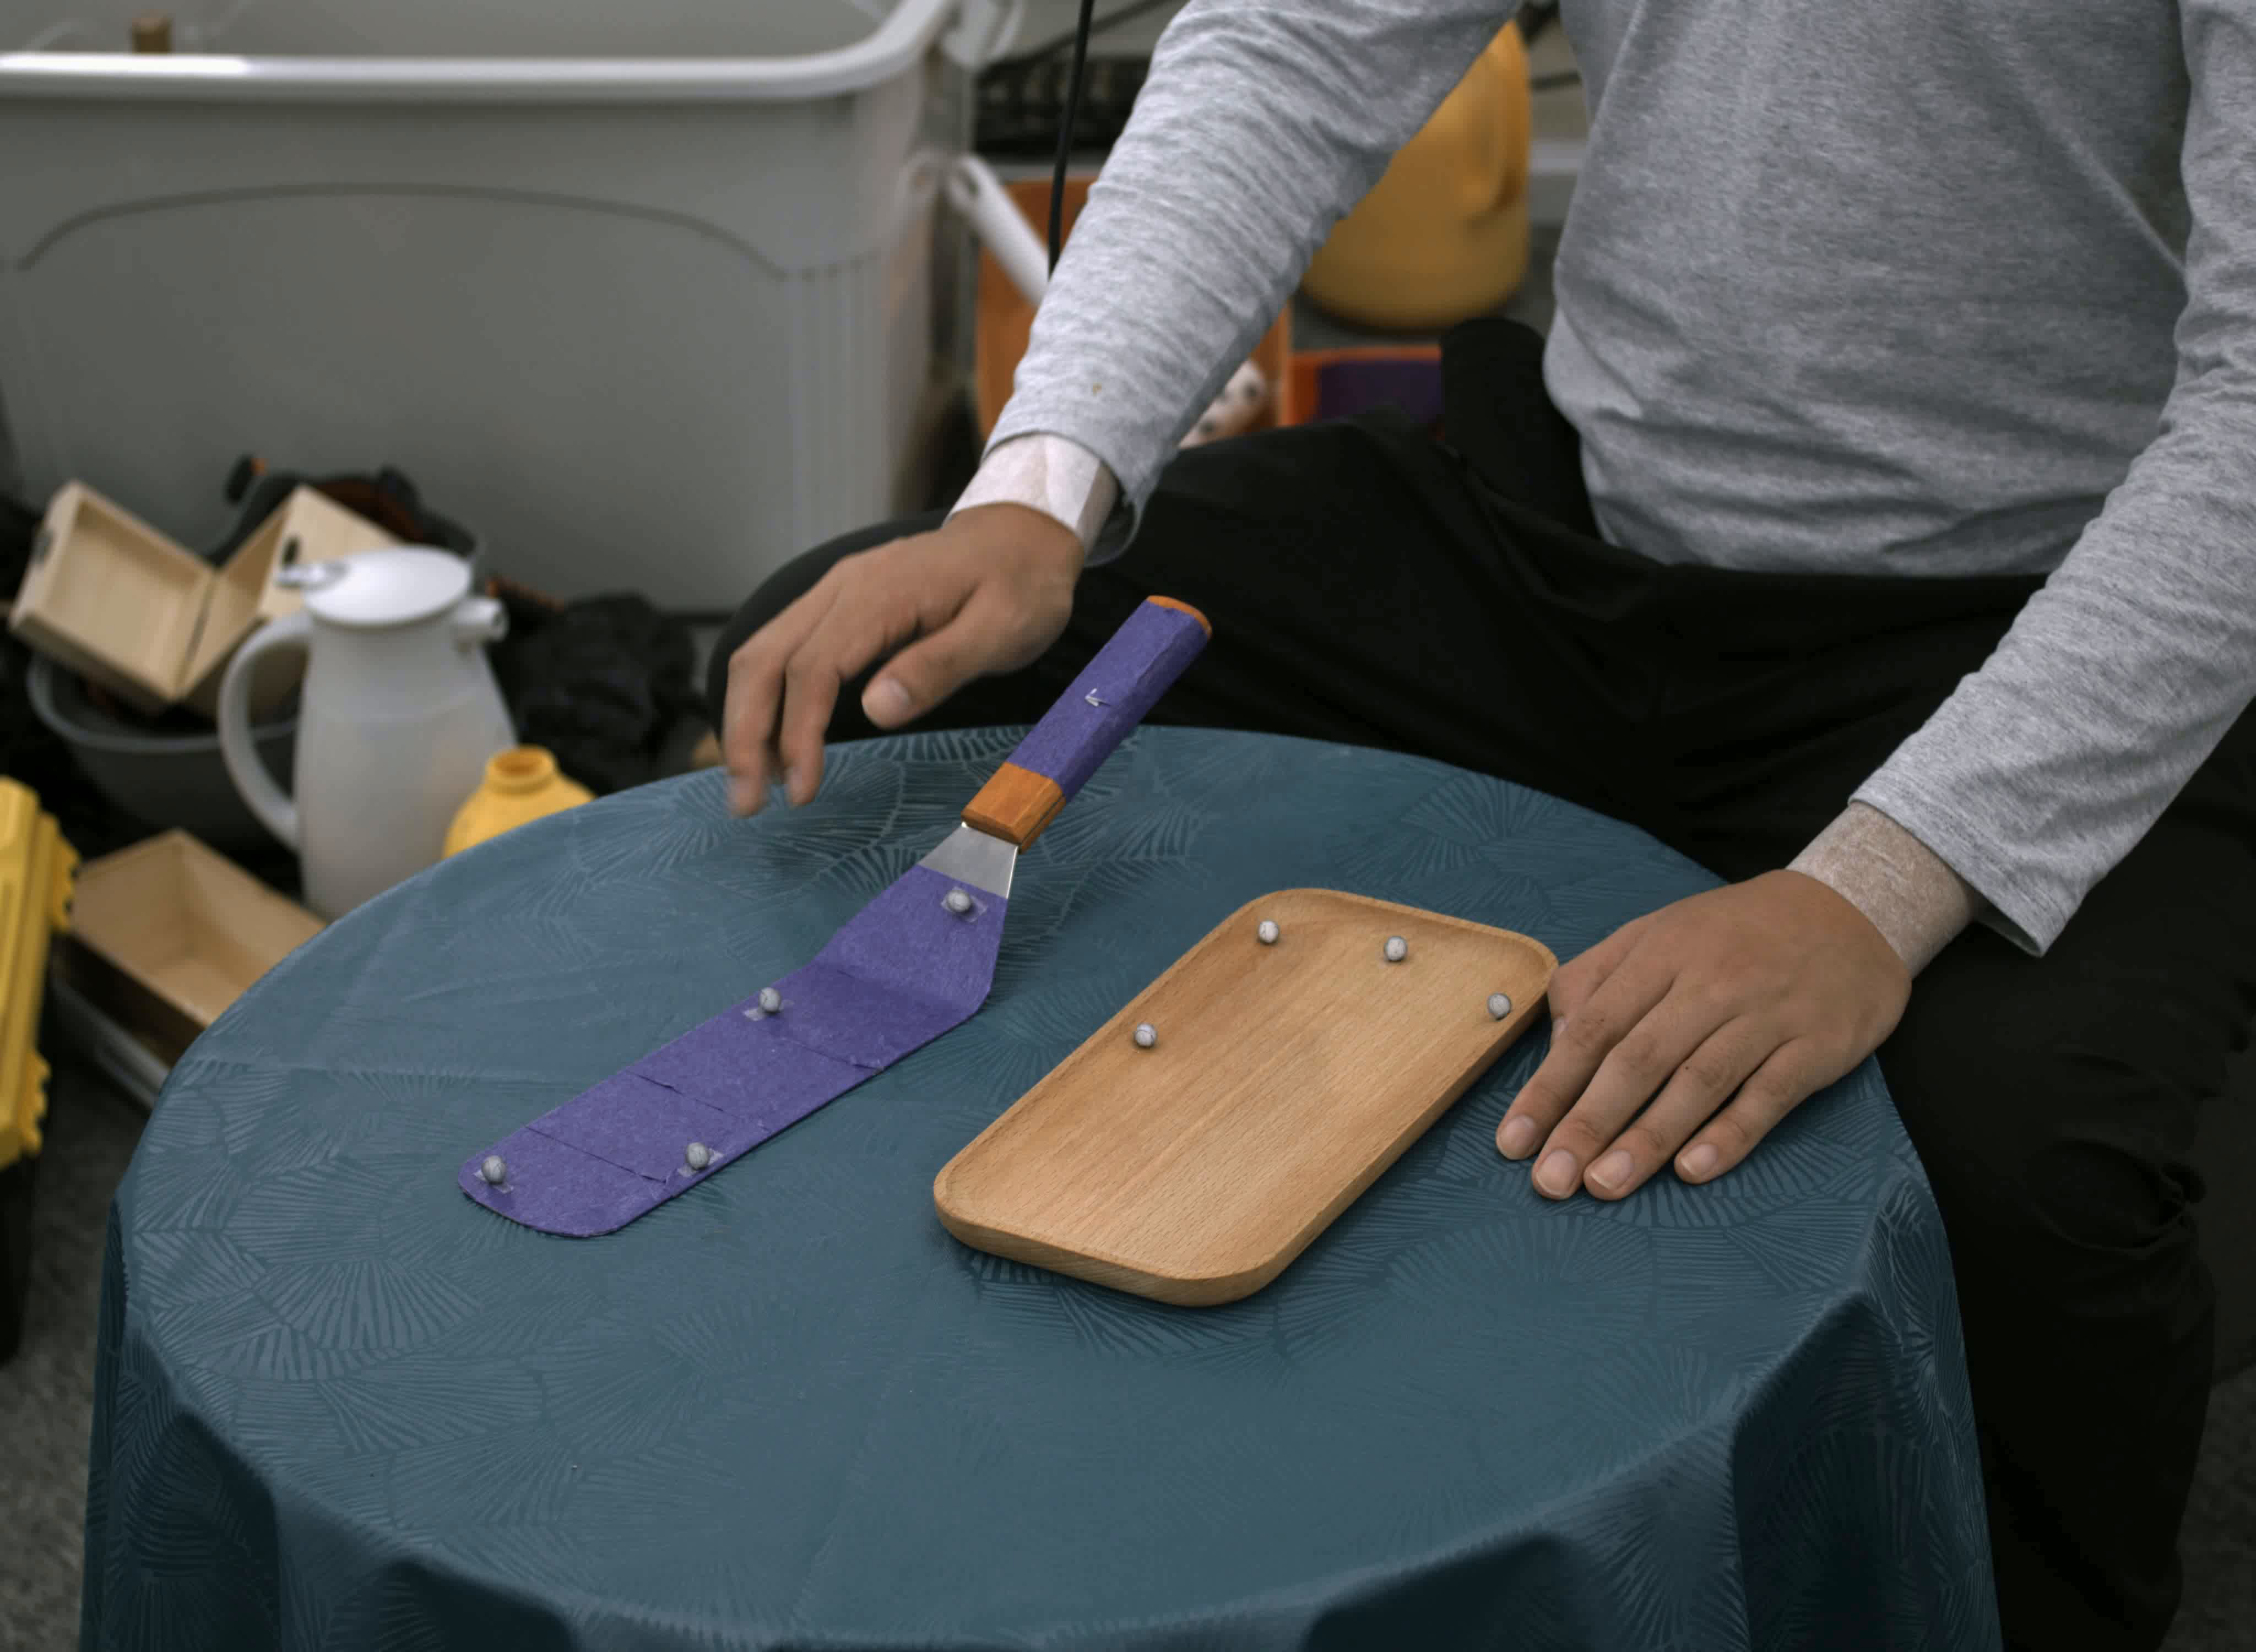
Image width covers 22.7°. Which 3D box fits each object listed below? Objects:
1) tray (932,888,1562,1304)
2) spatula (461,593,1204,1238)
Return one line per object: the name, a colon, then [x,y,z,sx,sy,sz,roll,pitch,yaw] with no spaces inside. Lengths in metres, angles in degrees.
tray: [0.044,0.089,1.905,0.130,0.022,0.255,10,31,30]
spatula: [-0.092,0.027,1.969,0.075,0.085,0.364,19,59,35]
